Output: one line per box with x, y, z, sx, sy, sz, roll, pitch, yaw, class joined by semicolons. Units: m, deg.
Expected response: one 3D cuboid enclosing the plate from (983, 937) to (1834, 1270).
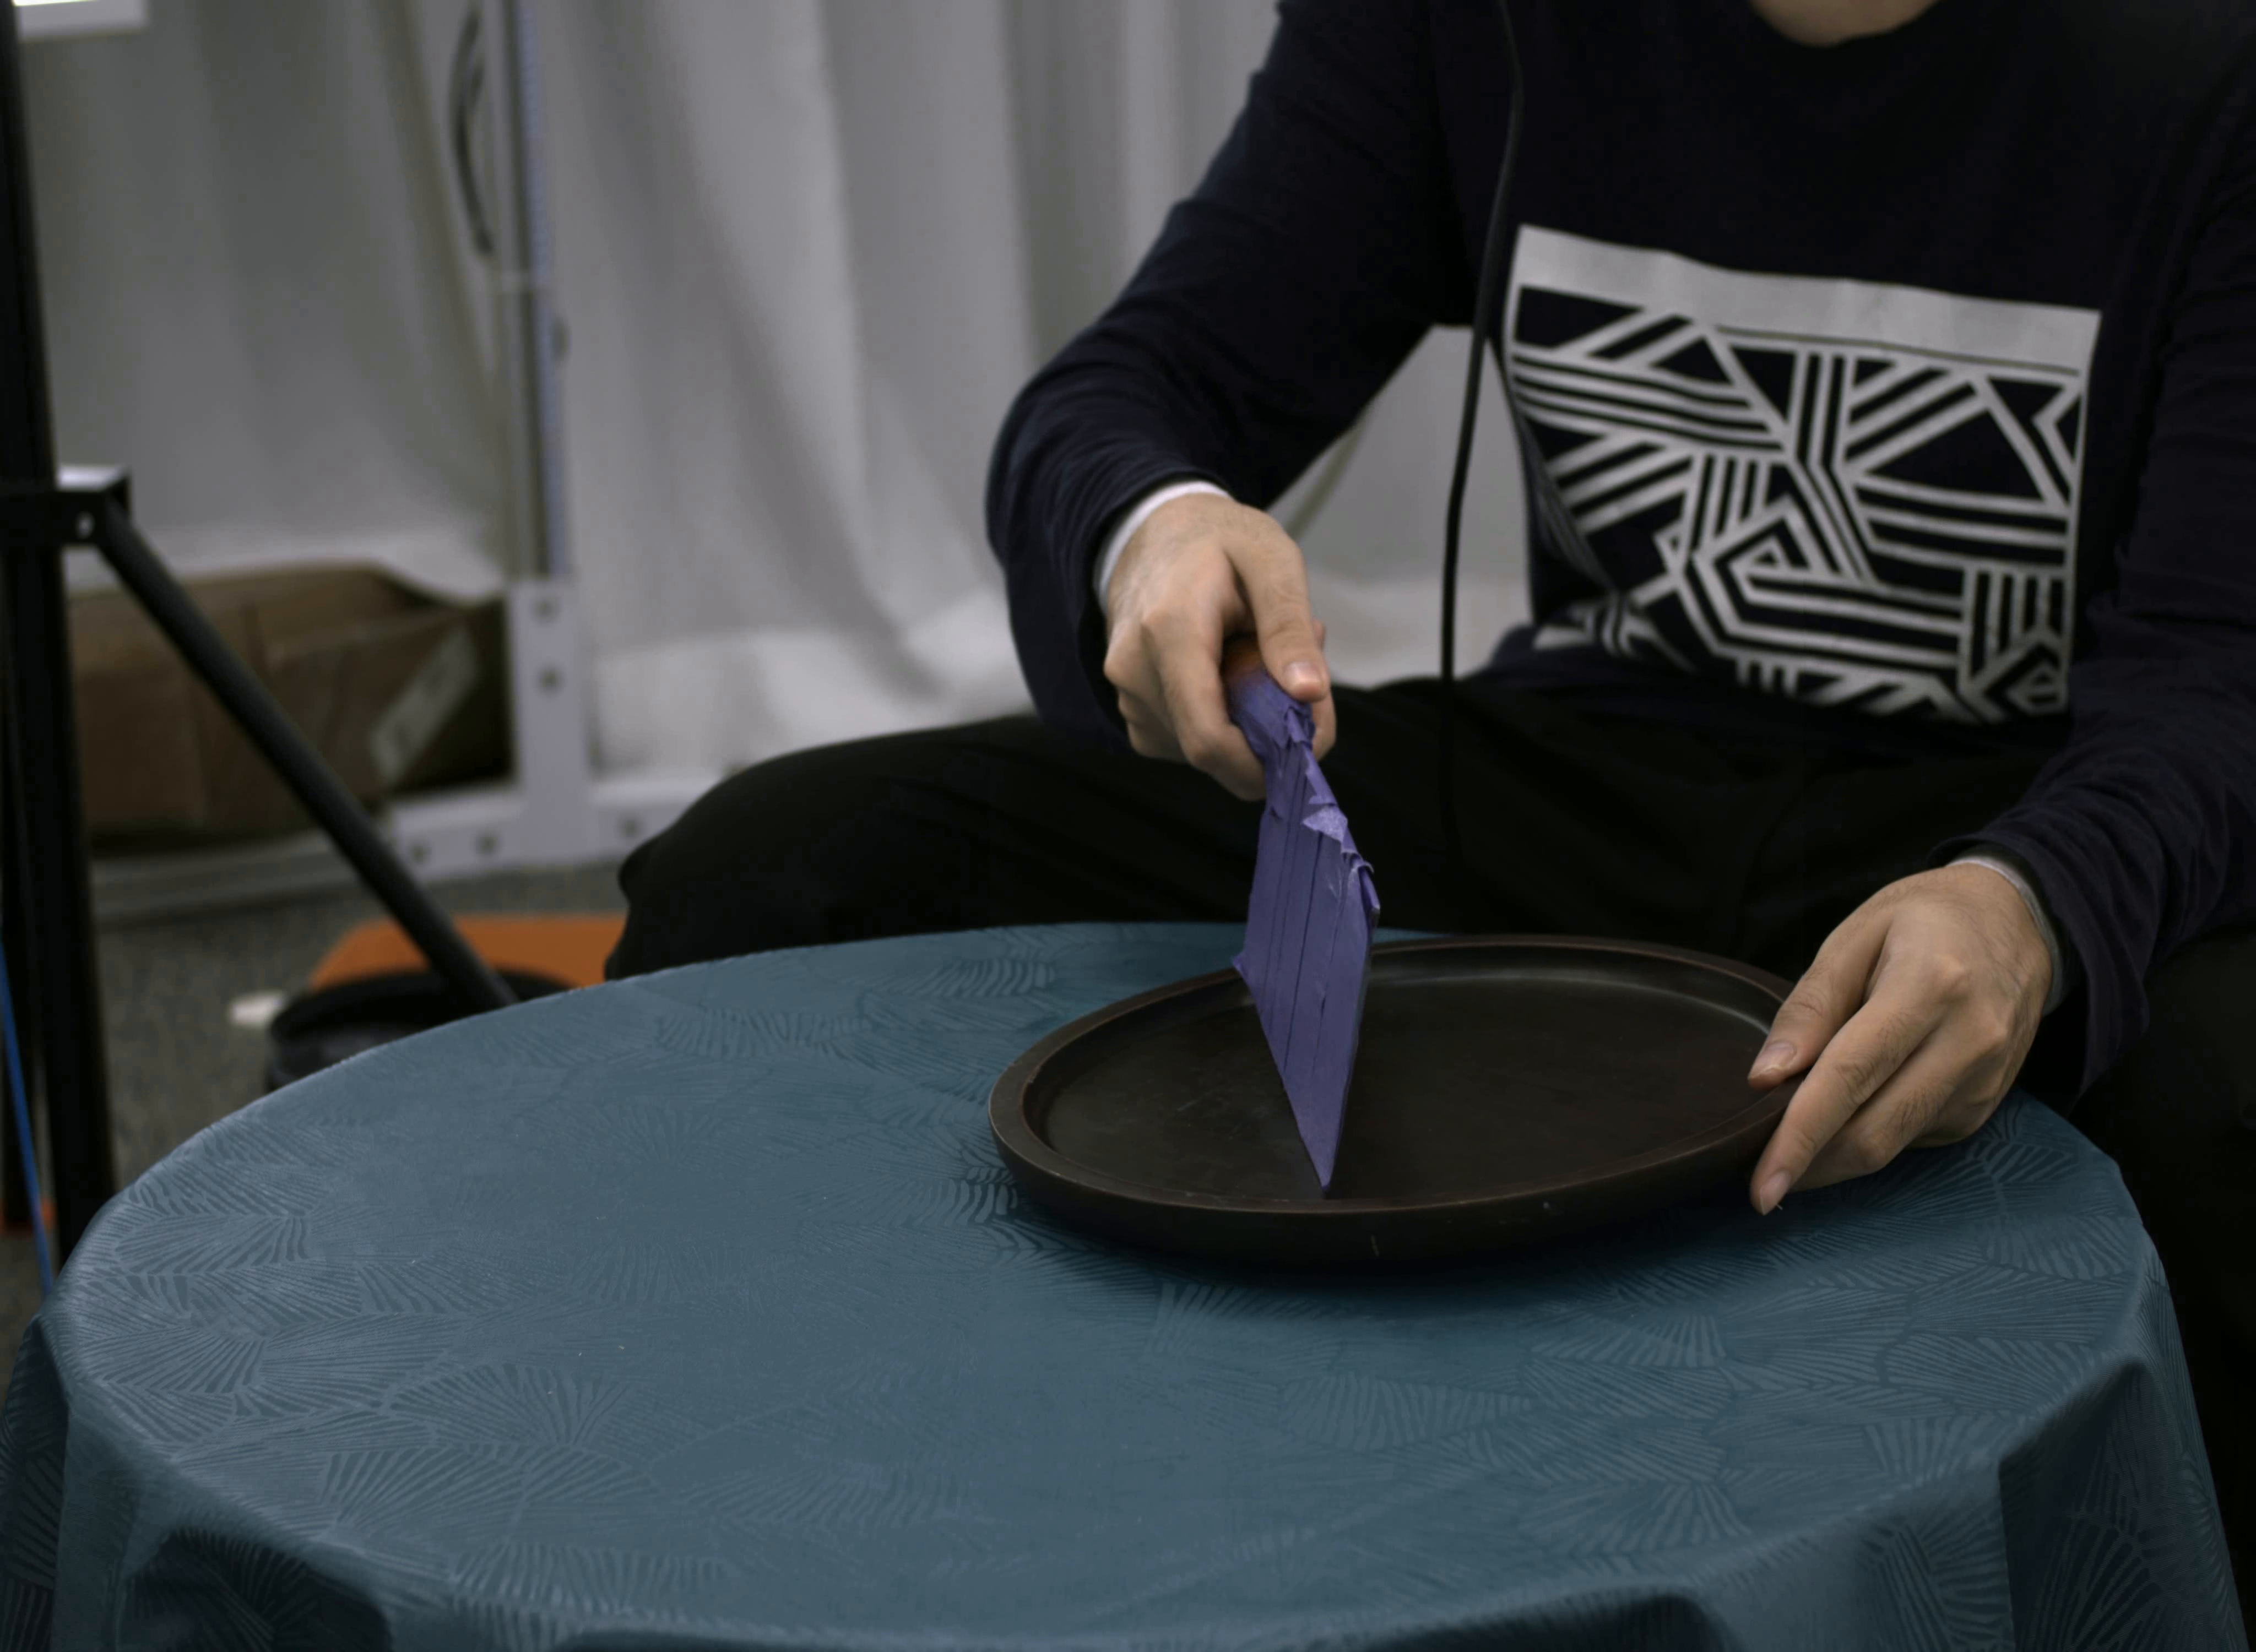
0.084;0.080;1.577;0.254;0.029;0.256;-8;15;1;plate

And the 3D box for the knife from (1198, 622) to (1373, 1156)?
0.043;0.016;1.628;0.032;0.104;0.317;9;15;-6;knife
